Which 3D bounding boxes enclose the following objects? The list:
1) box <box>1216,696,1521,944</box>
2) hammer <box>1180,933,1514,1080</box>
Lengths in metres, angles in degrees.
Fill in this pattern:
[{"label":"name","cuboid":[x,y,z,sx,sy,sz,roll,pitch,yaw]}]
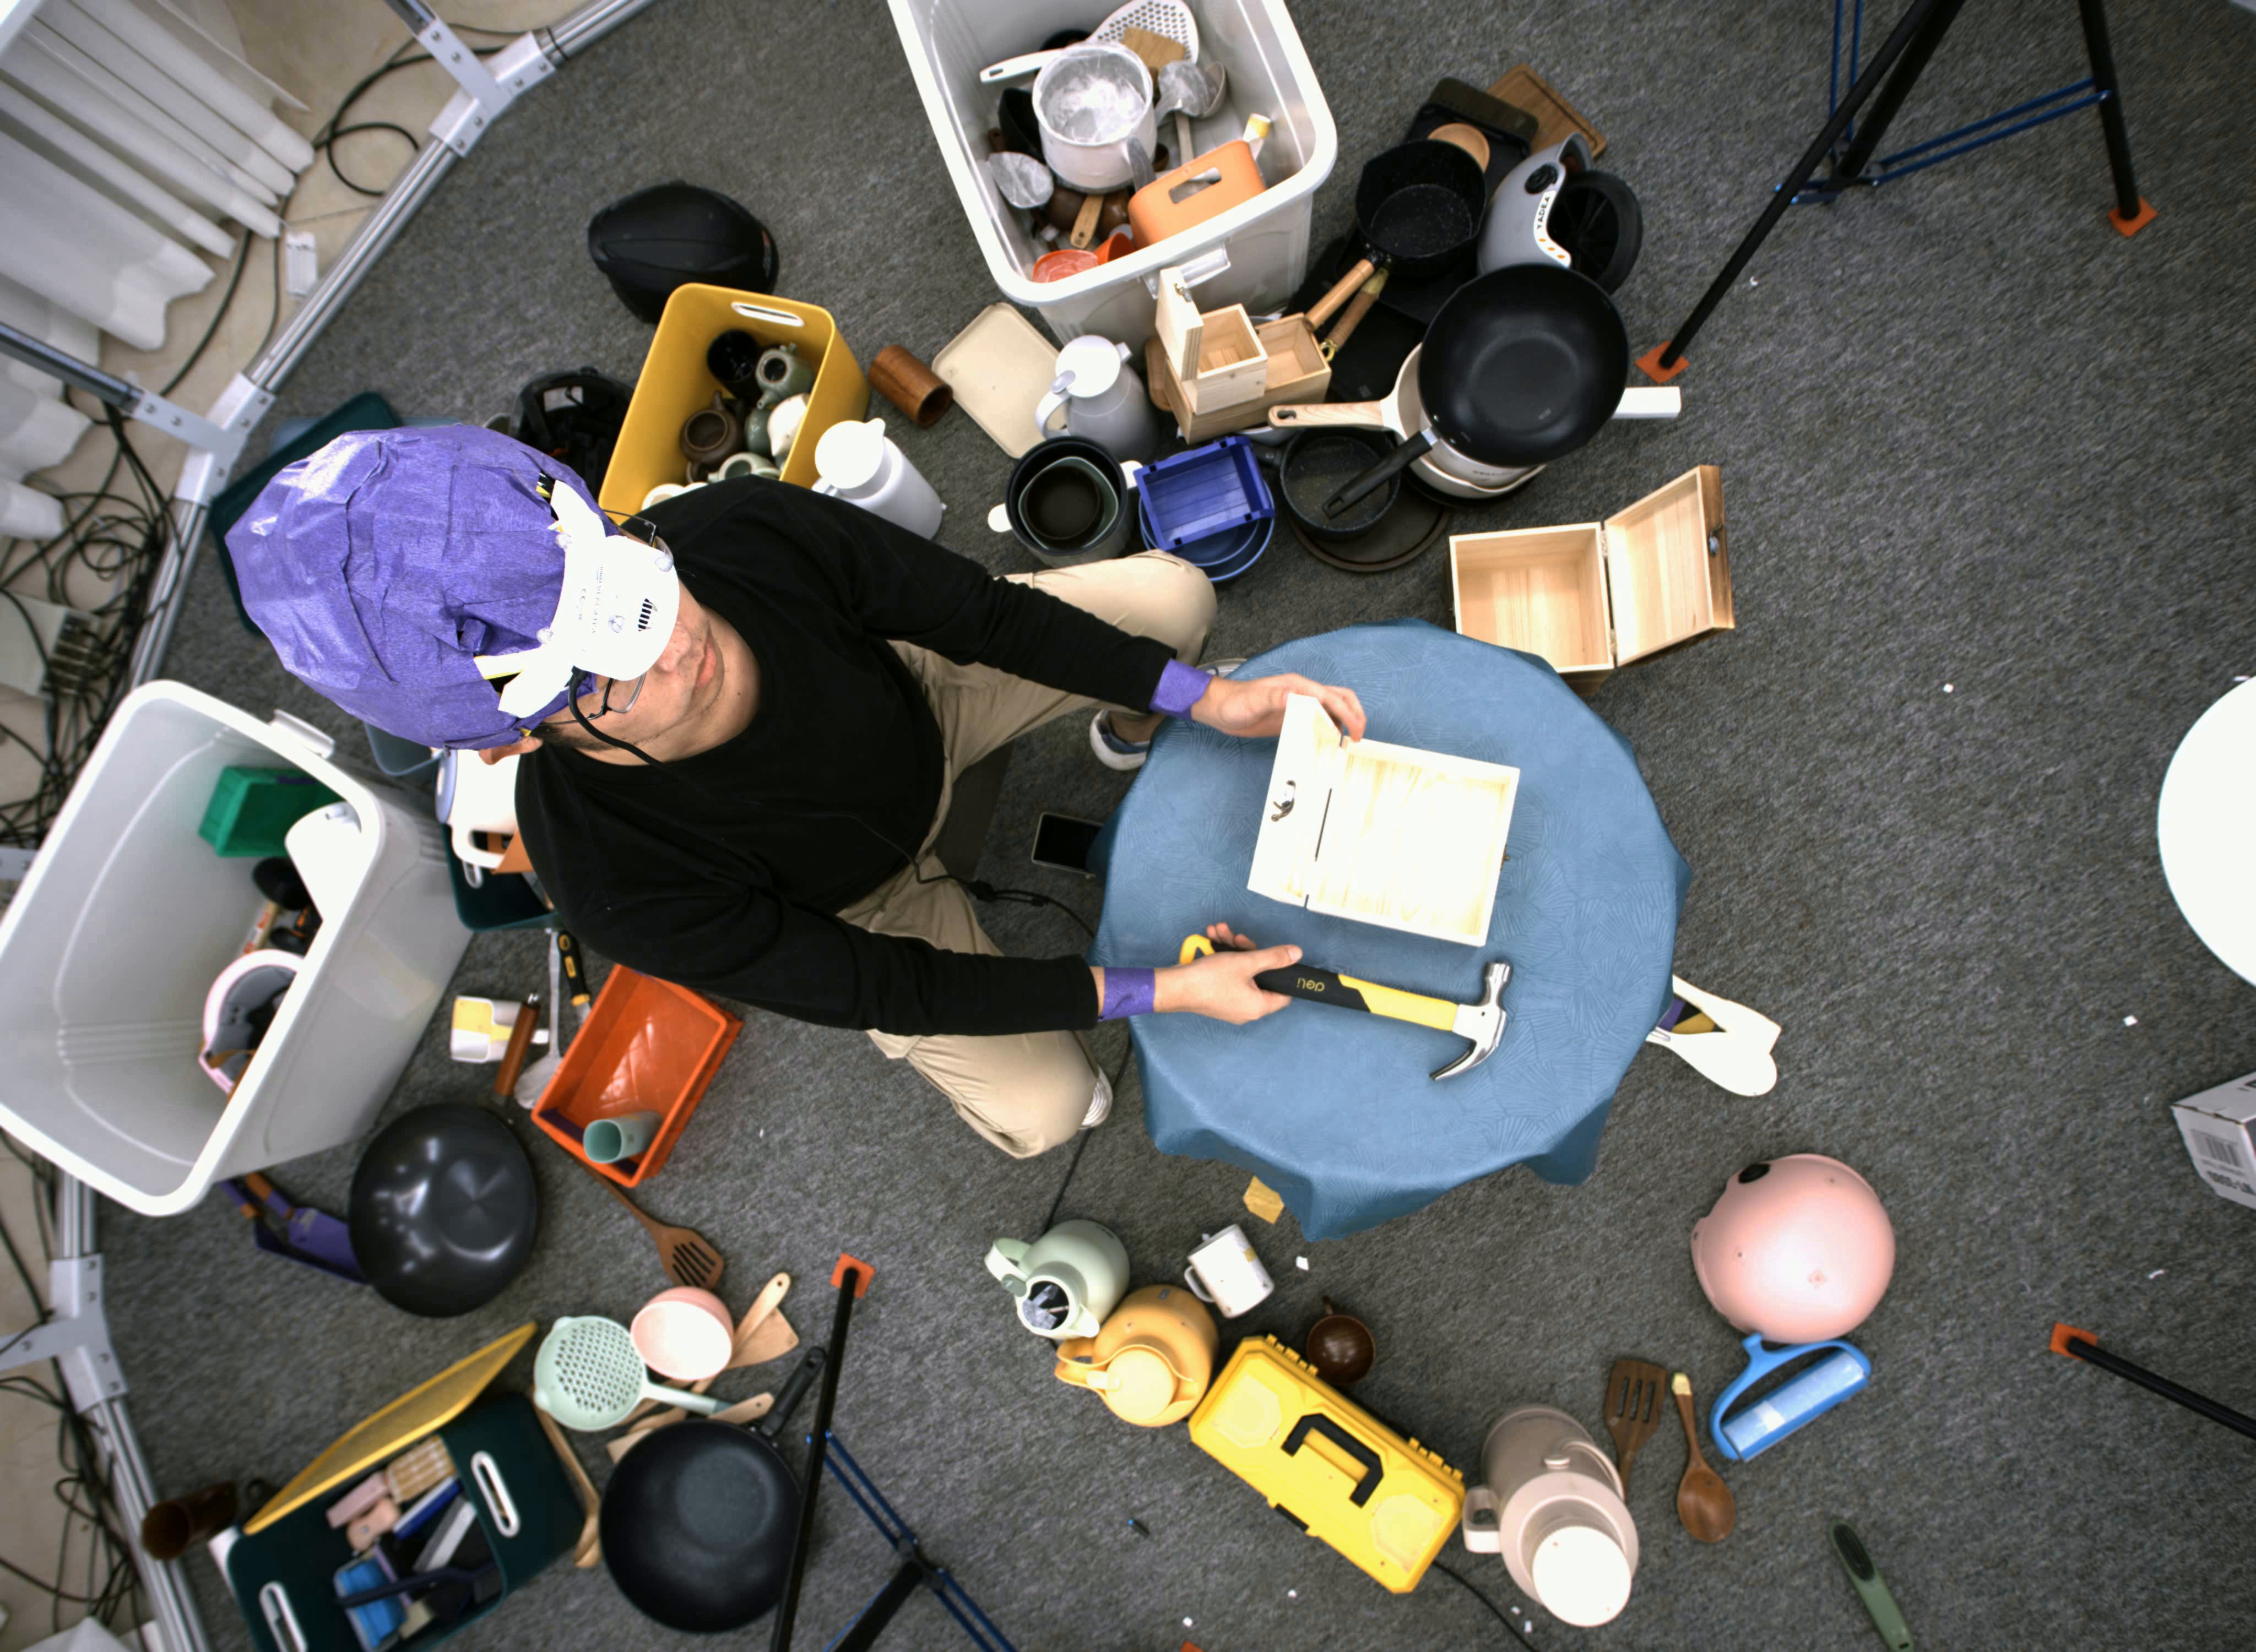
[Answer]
[{"label":"box","cuboid":[0.245,0.001,1.343,0.265,0.253,0.181,11,89,11]},{"label":"hammer","cuboid":[0.220,0.168,1.430,0.339,0.032,0.131,14,90,3]}]
